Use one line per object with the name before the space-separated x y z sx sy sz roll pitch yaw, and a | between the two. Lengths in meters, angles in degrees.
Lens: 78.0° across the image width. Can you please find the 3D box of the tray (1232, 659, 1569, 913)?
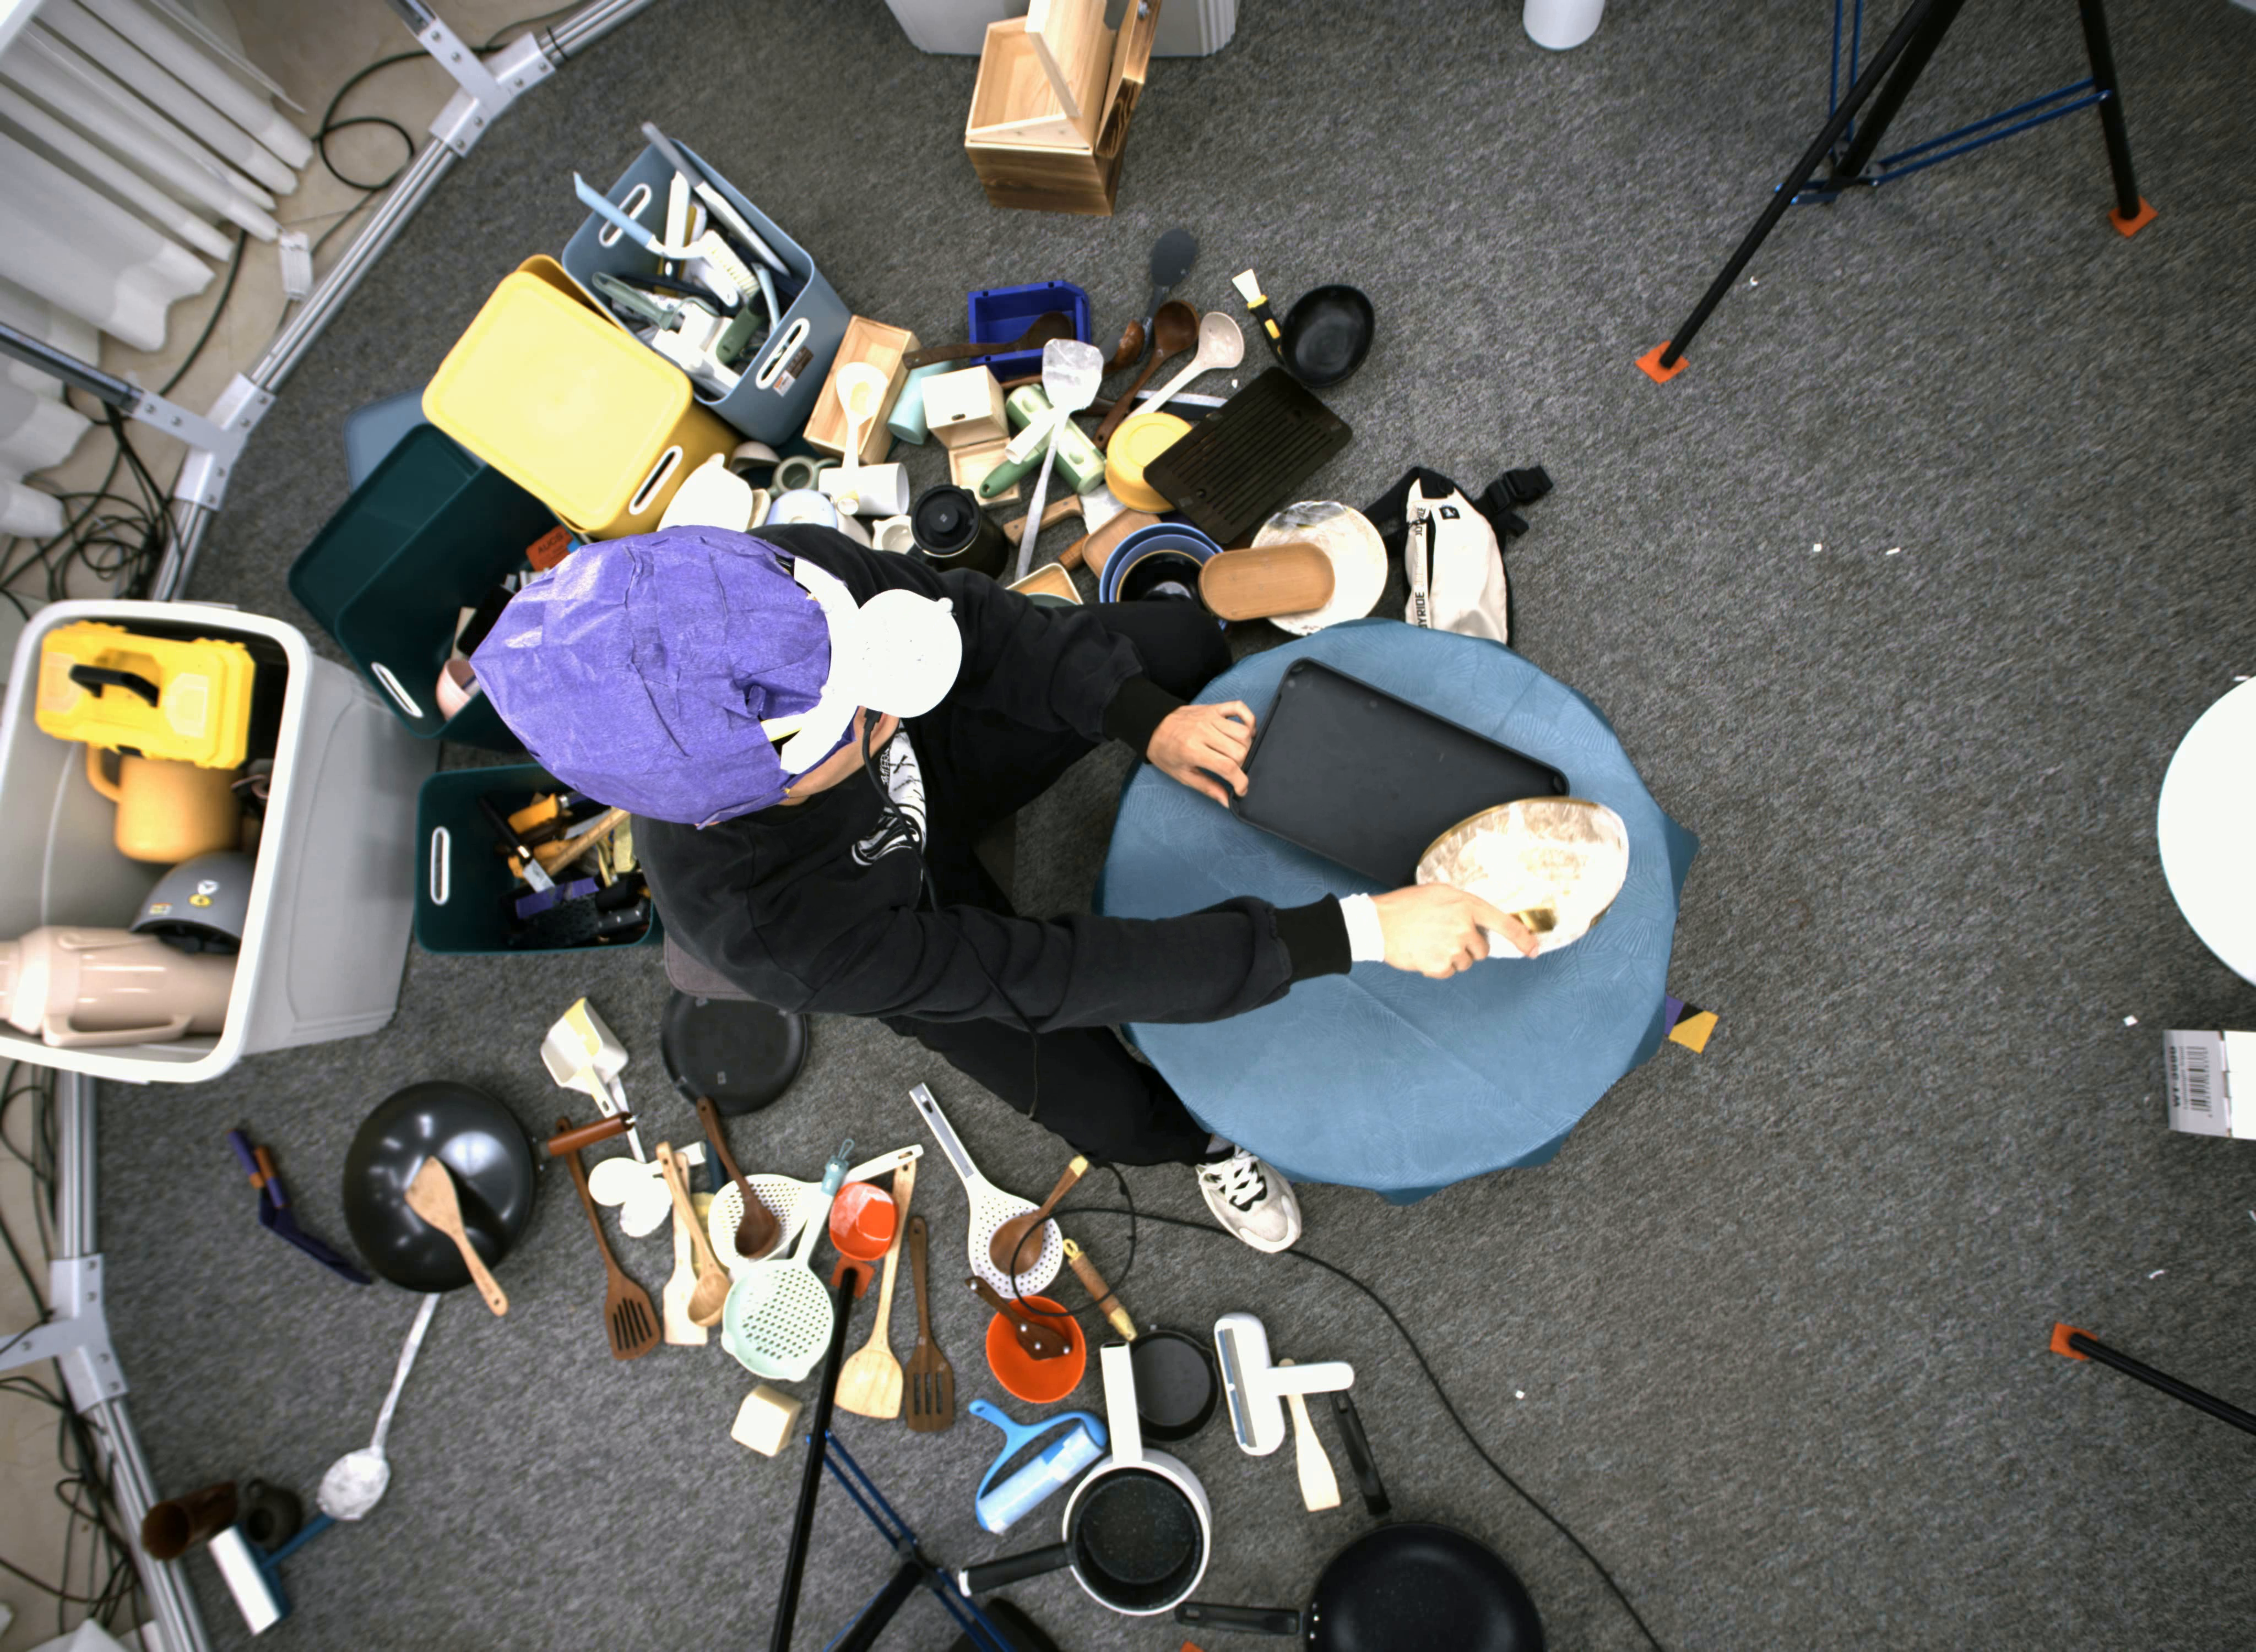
tray | 0.280 -0.029 1.429 0.318 0.037 0.184 26 91 -1

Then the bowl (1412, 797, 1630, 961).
bowl | 0.388 0.064 1.341 0.216 0.210 0.096 -21 116 7
